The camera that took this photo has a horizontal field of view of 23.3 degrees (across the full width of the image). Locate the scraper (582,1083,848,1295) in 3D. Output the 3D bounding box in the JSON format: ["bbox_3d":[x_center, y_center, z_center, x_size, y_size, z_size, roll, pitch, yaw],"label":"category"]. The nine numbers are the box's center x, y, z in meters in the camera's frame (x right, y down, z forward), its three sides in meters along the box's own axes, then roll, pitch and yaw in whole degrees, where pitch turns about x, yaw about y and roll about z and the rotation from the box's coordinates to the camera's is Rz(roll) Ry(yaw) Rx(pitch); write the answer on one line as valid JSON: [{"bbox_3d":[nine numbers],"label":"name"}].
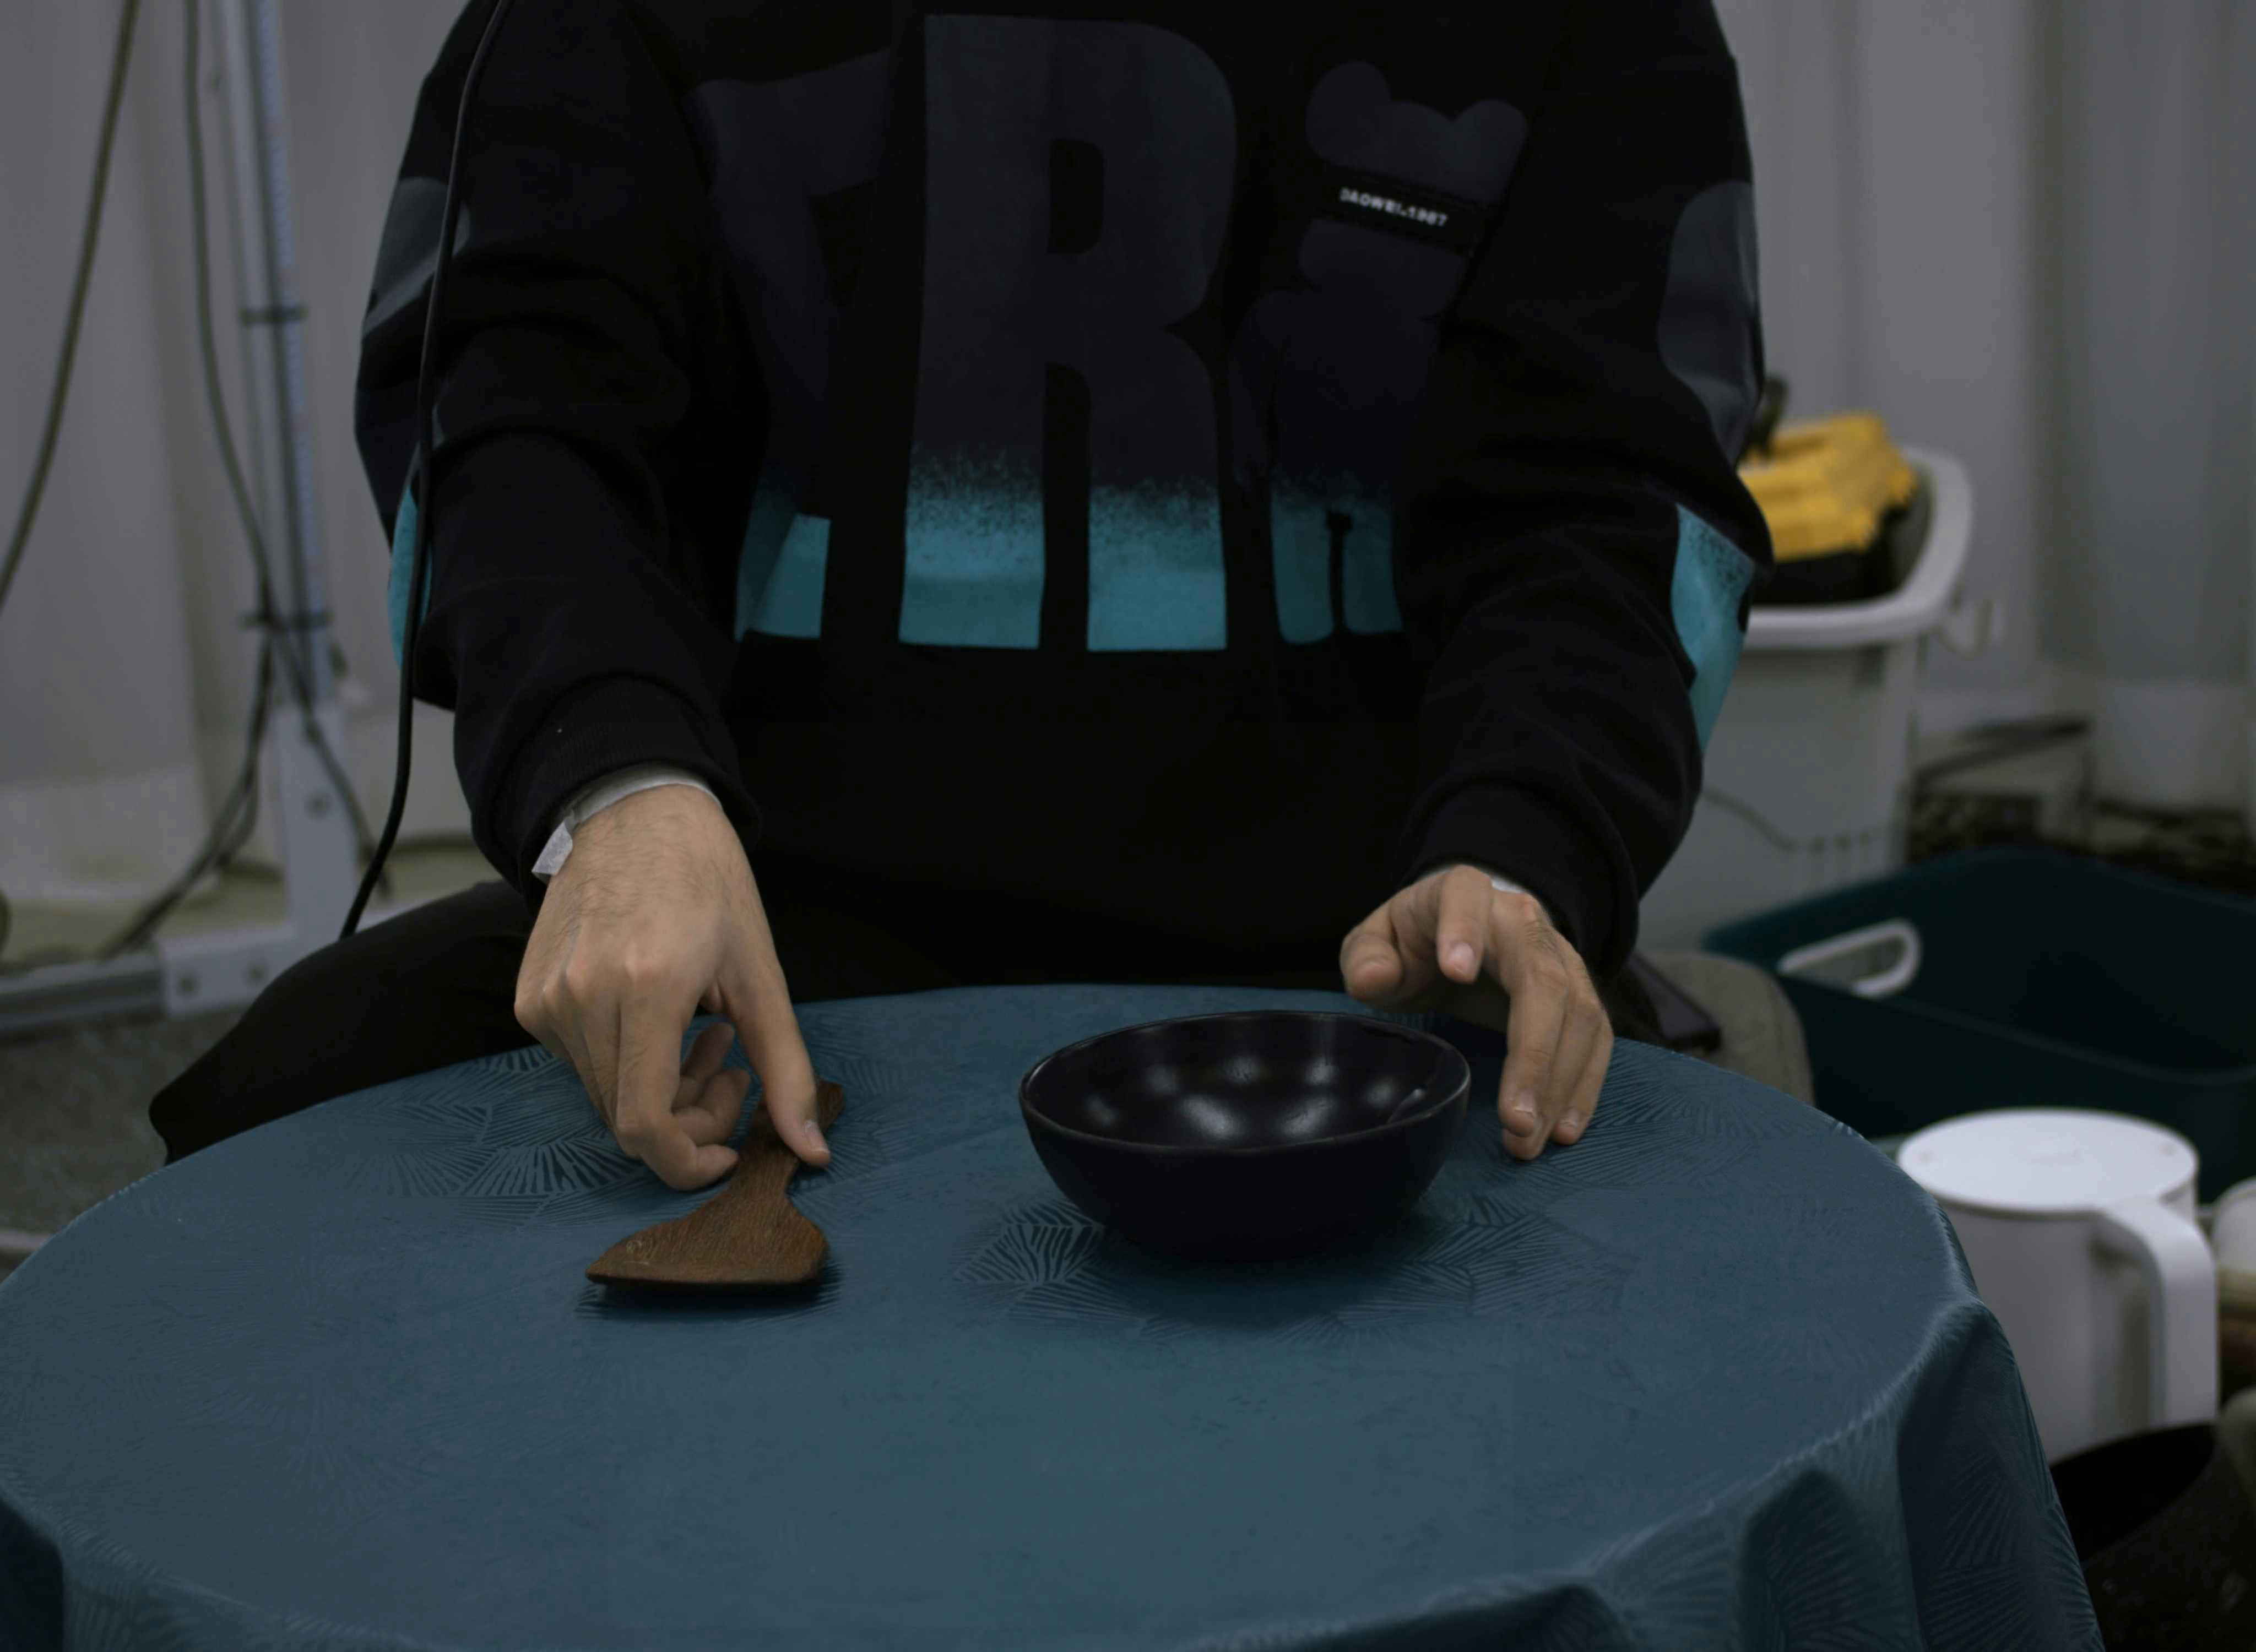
[{"bbox_3d":[-0.117,0.114,1.723,0.075,0.011,0.212,2,15,6],"label":"scraper"}]

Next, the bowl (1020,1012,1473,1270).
[{"bbox_3d":[0.038,0.101,1.669,0.139,0.049,0.141,-5,14,1],"label":"bowl"}]
